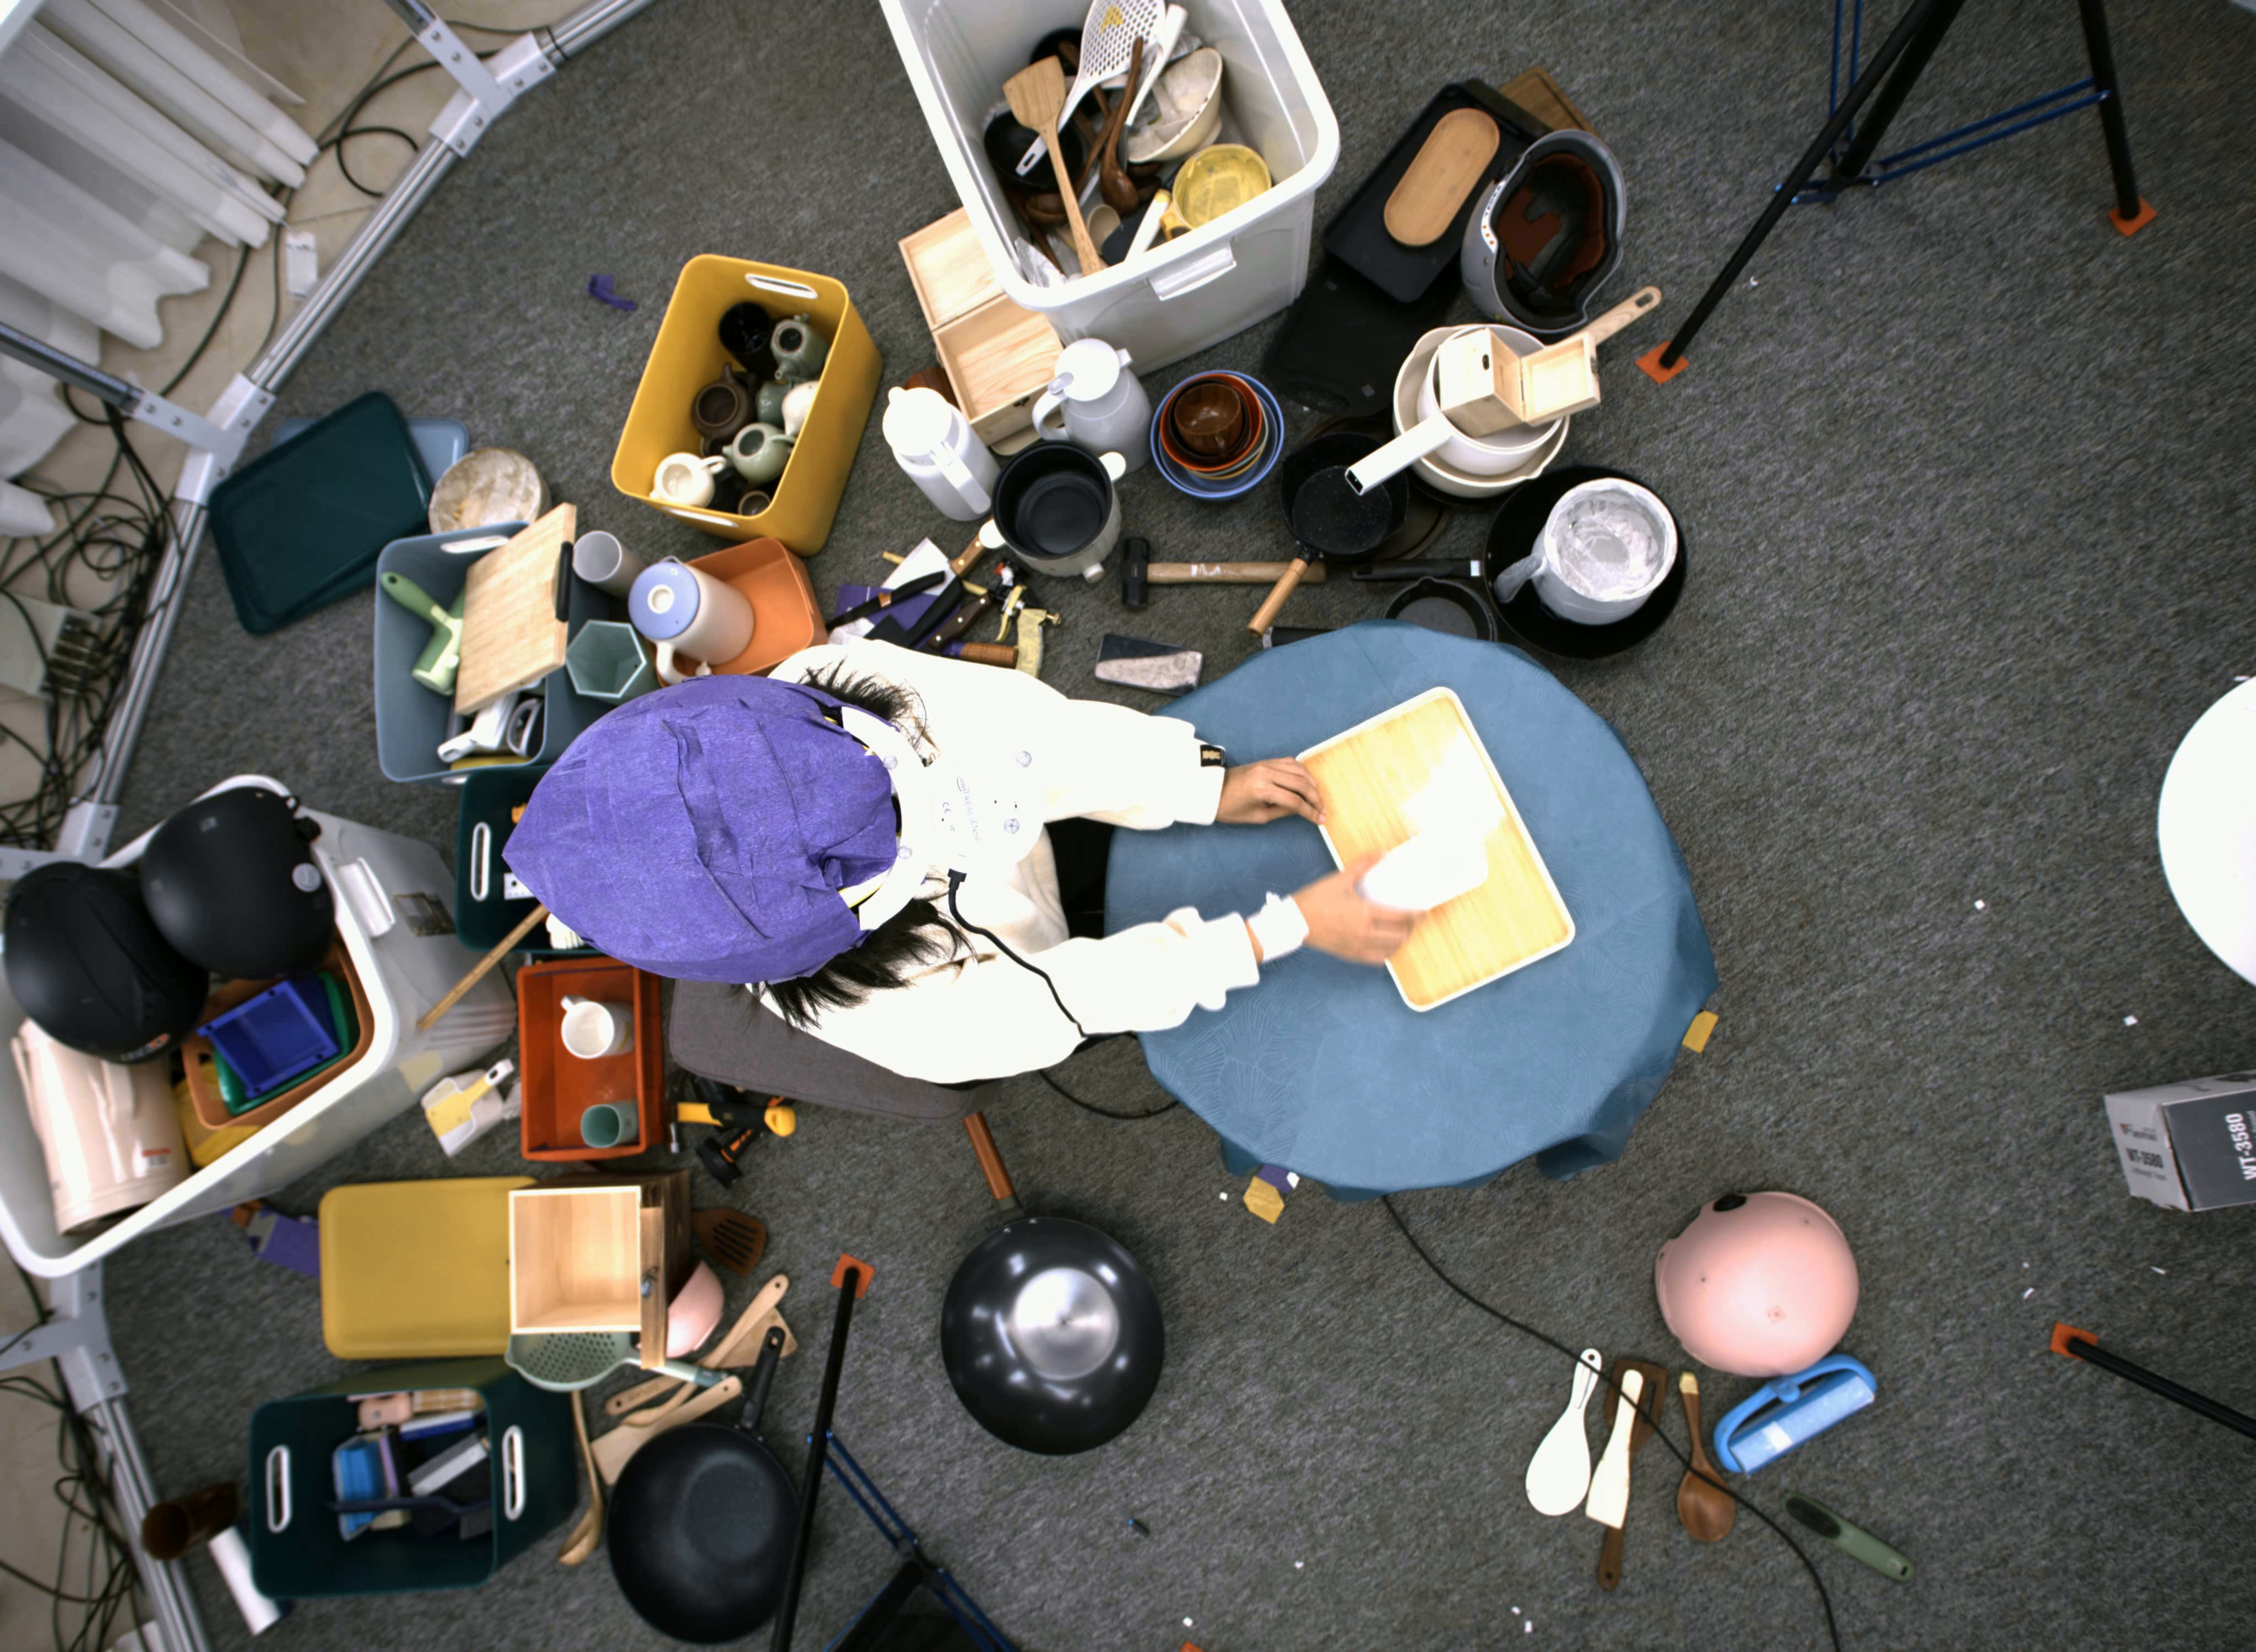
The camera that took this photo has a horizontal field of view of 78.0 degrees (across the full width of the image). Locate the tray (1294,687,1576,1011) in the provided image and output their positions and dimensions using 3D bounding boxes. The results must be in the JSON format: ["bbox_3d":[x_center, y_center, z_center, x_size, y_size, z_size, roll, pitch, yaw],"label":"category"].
[{"bbox_3d":[0.318,0.022,1.441,0.192,0.027,0.298,-26,83,8],"label":"tray"}]

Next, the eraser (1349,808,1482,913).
[{"bbox_3d":[0.288,0.032,1.387,0.133,0.034,0.063,-30,87,18],"label":"eraser"}]
